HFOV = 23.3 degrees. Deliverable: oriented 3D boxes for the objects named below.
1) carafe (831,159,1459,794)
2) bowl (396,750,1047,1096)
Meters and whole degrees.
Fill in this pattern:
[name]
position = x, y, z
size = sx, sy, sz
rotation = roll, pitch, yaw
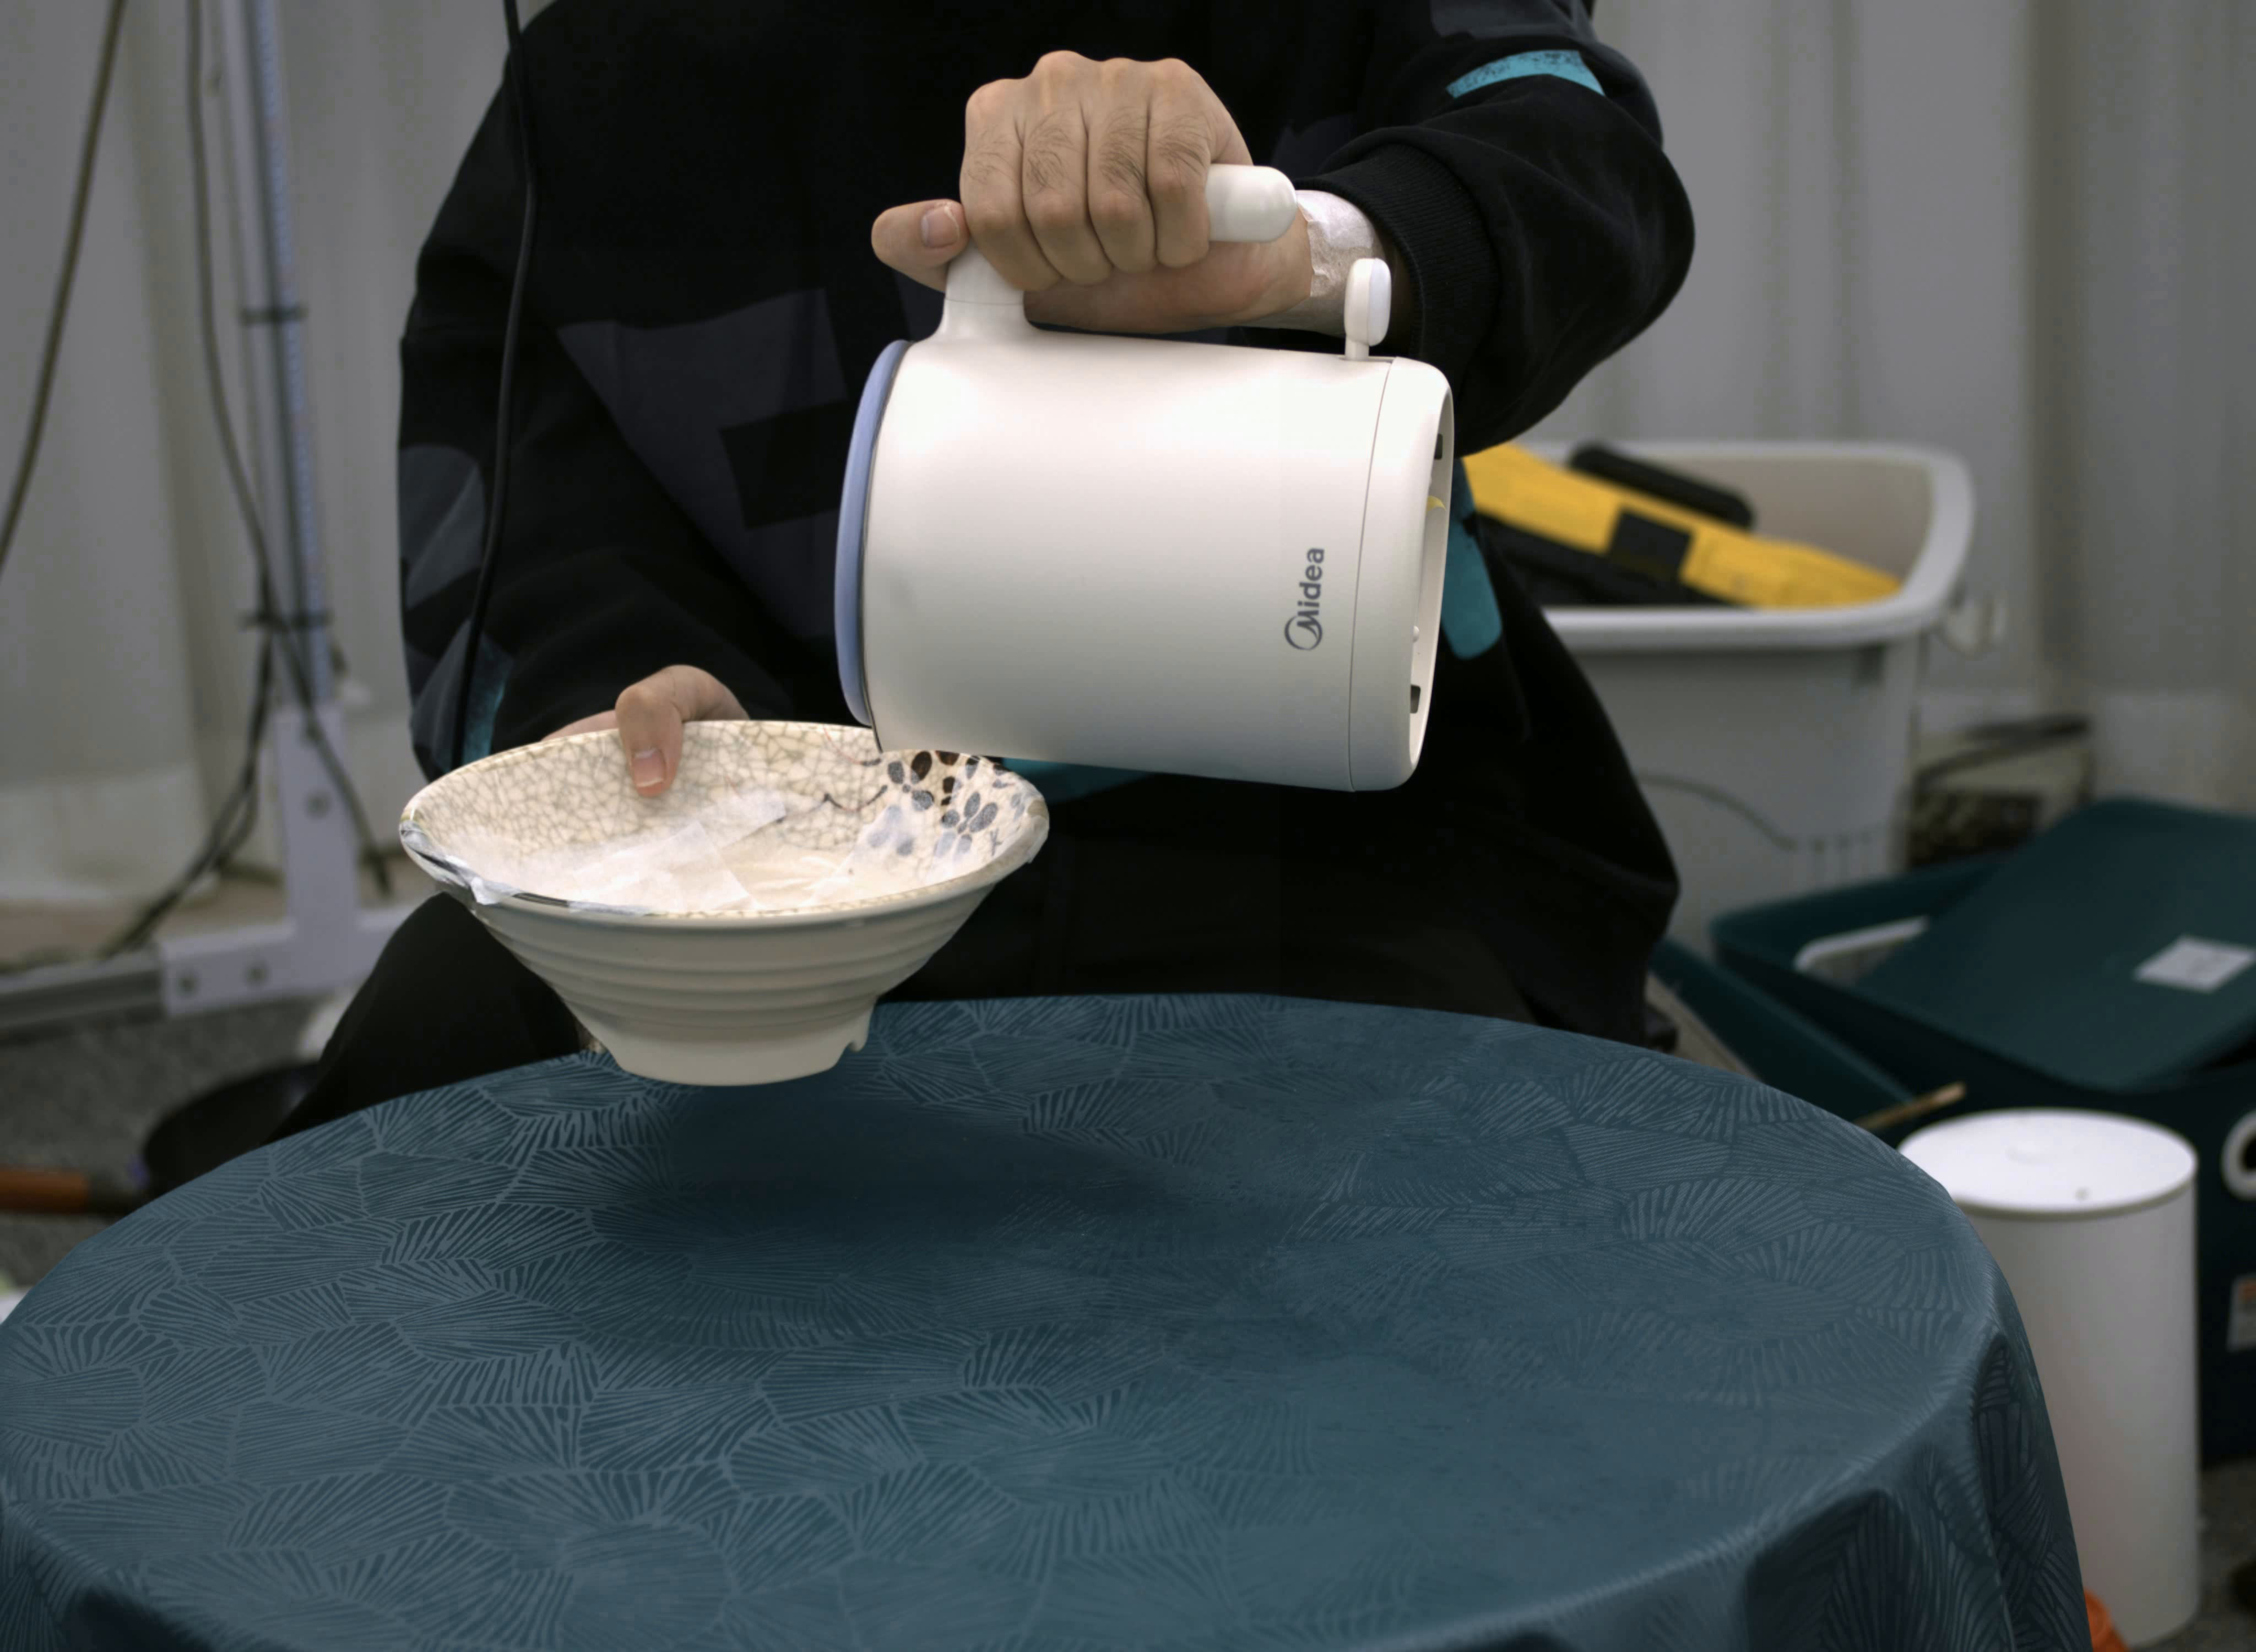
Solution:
[carafe]
position = 0.009, -0.107, 1.656
size = 0.182, 0.191, 0.132
rotation = 8, 8, 6
[bowl]
position = -0.128, 0.036, 1.719
size = 0.203, 0.078, 0.205
rotation = 1, 13, -1
